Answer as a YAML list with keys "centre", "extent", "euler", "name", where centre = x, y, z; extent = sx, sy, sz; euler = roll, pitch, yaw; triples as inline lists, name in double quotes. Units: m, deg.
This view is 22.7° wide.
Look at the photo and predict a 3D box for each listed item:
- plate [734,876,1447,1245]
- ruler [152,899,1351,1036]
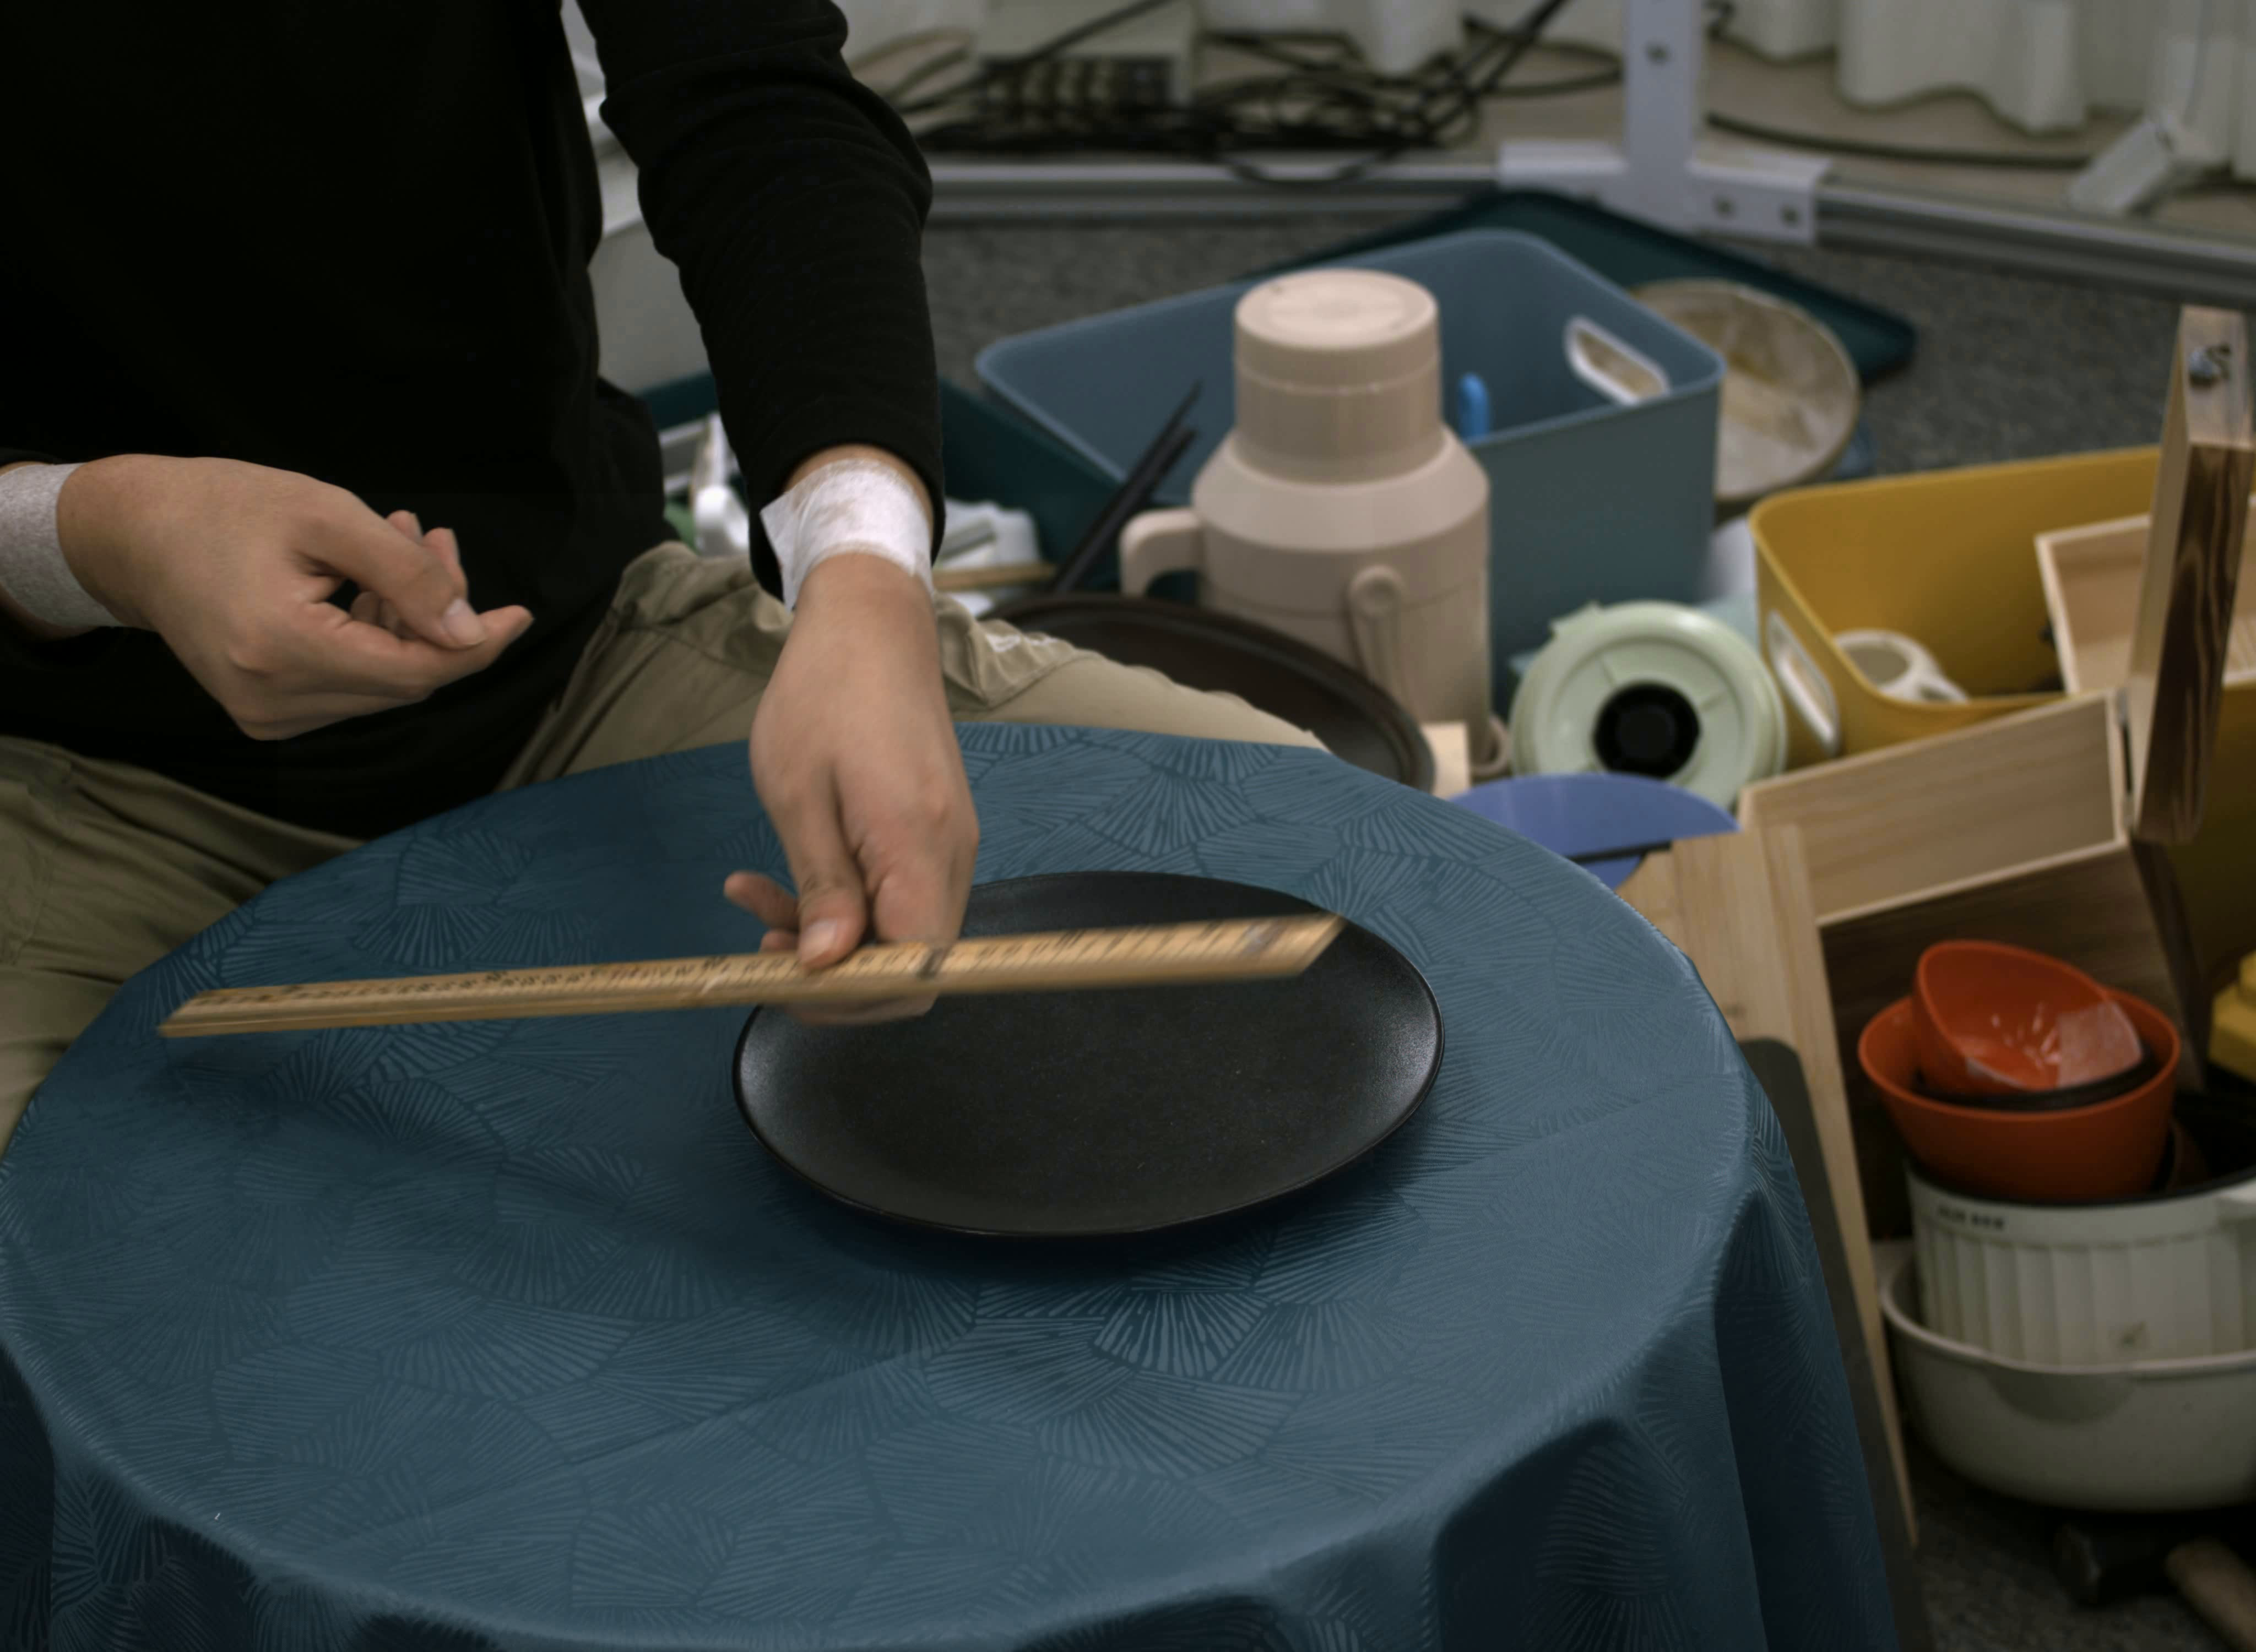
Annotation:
- centre: [-0.012, 0.083, 1.911]
  extent: [0.243, 0.023, 0.248]
  euler: [-2, 27, 2]
  name: "plate"
- centre: [-0.135, 0.047, 1.808]
  extent: [0.495, 0.006, 0.027]
  euler: [-5, 26, 37]
  name: "ruler"
